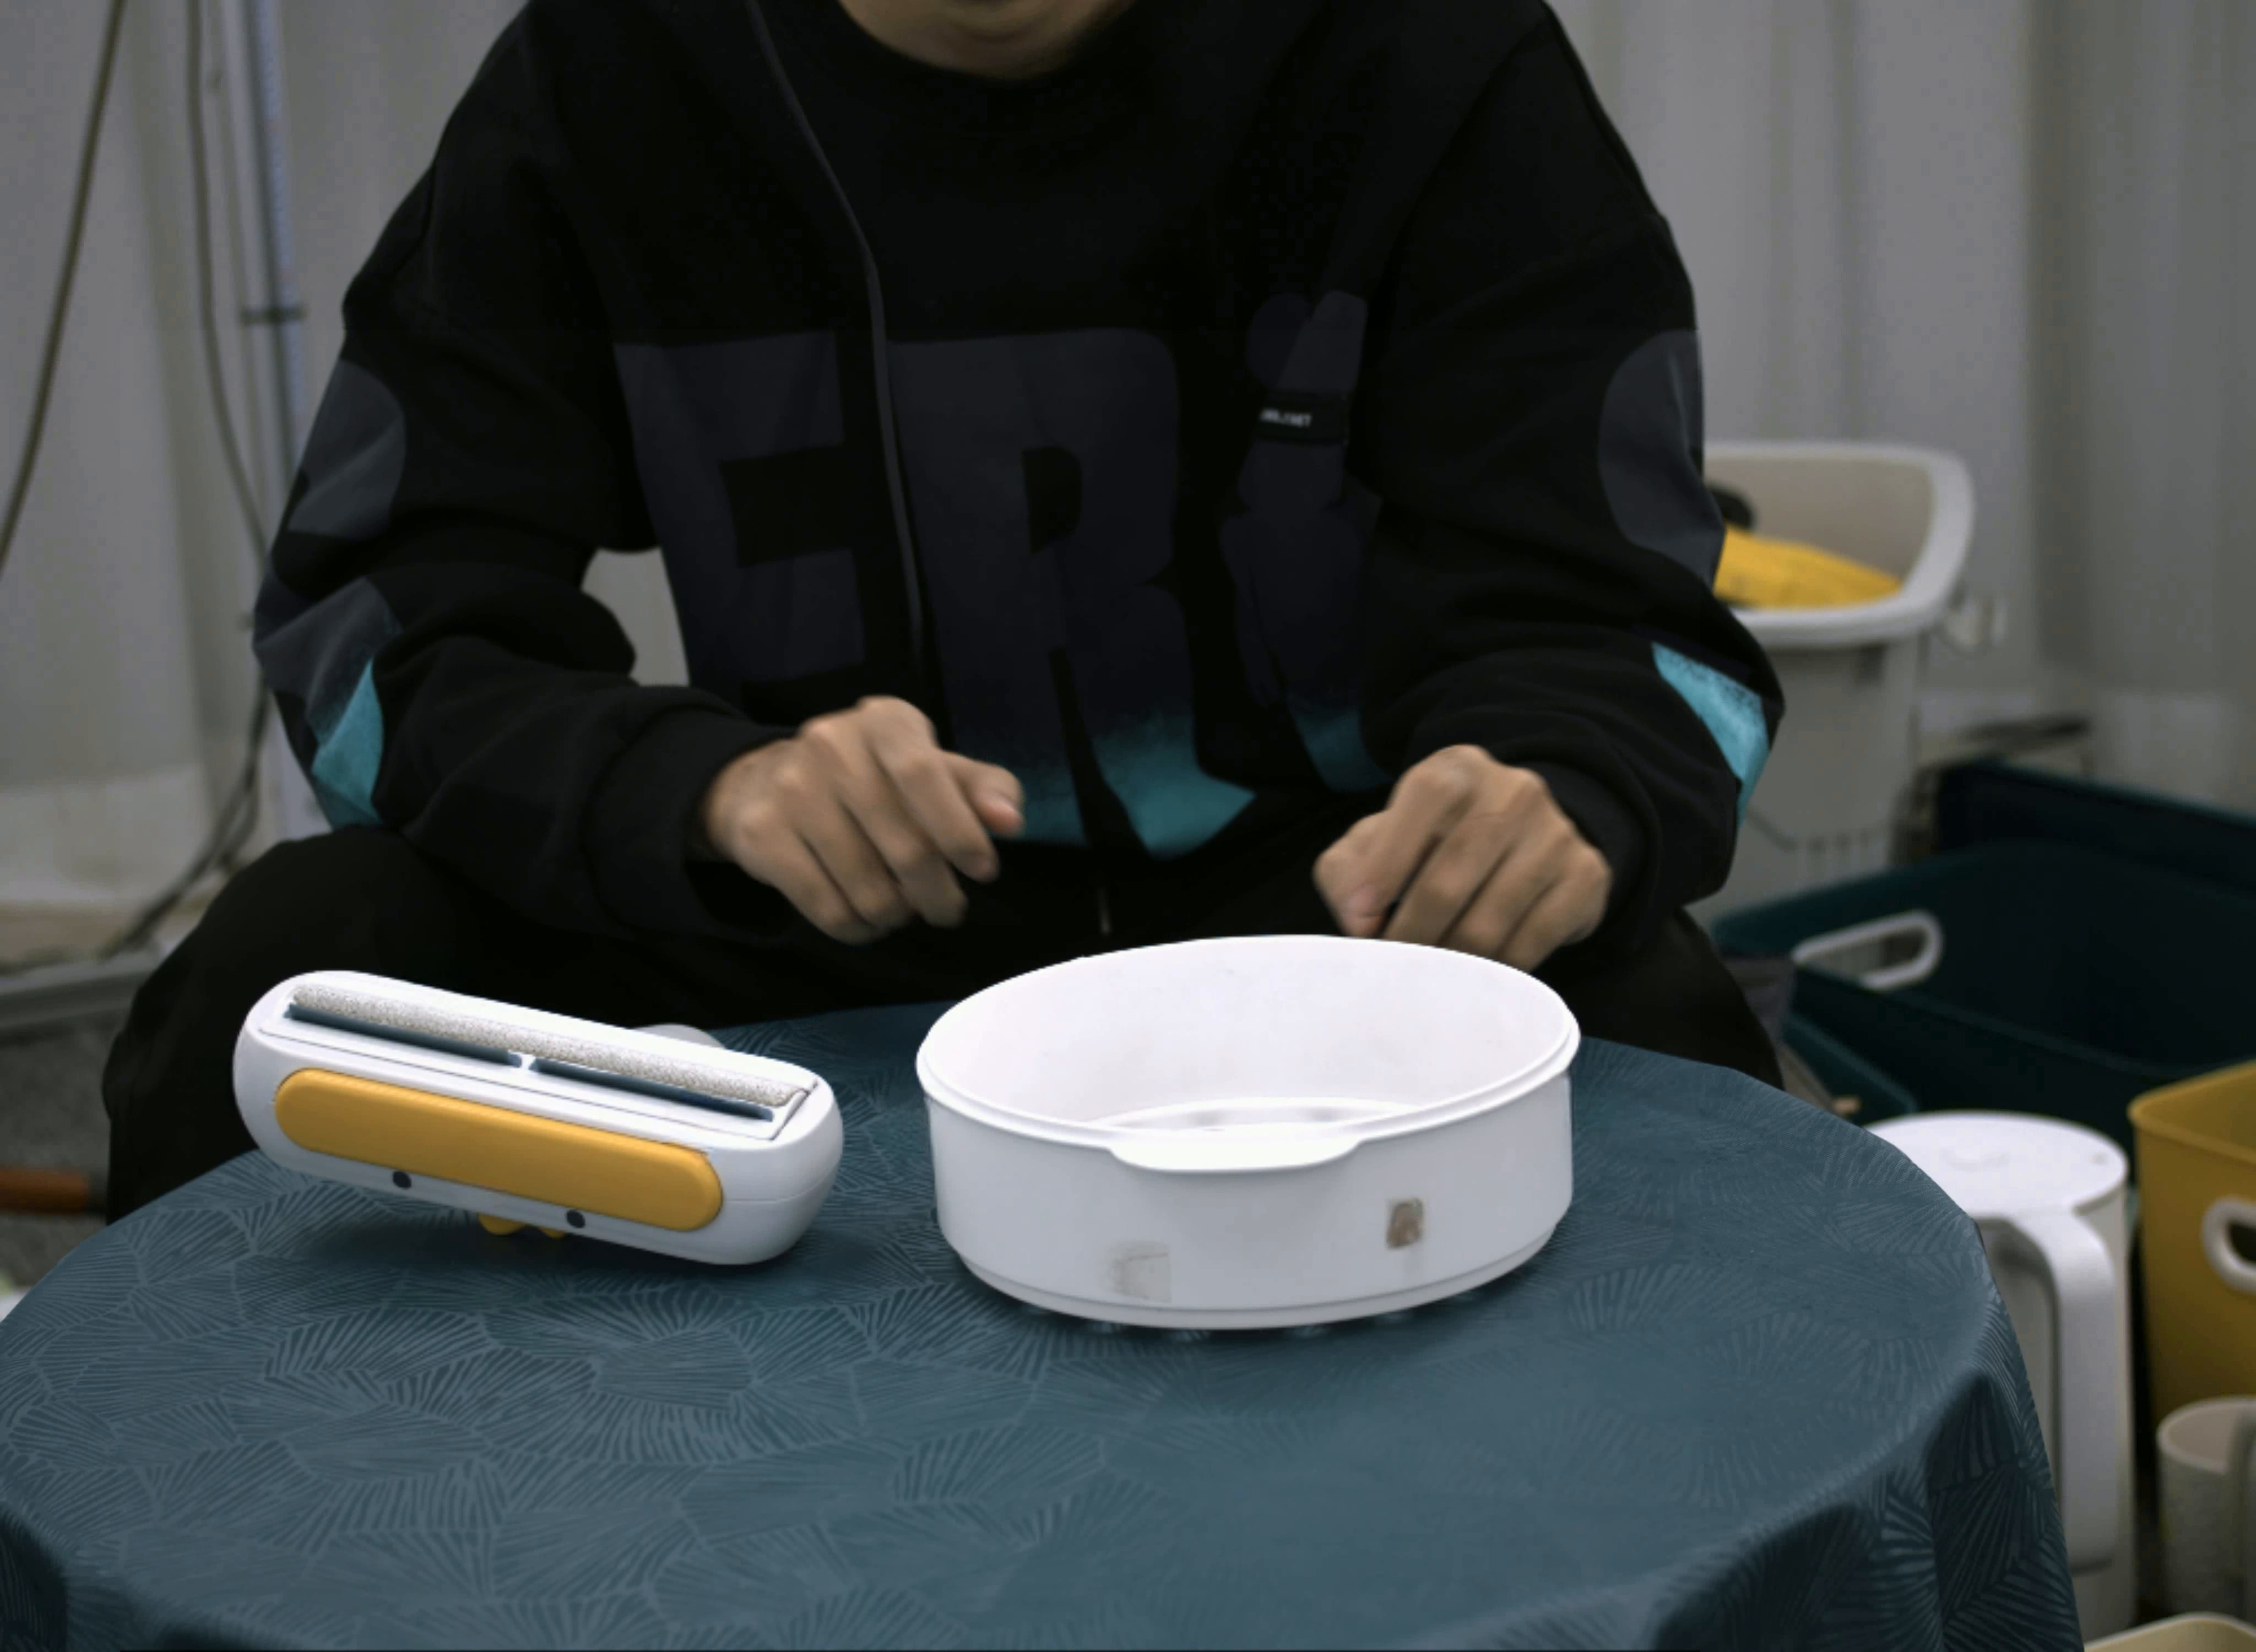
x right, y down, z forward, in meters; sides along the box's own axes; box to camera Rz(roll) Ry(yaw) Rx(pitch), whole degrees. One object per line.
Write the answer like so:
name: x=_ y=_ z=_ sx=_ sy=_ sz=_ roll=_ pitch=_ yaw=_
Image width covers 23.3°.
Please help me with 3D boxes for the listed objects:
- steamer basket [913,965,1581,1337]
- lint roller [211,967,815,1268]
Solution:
steamer basket: x=0.036 y=0.098 z=1.652 sx=0.201 sy=0.069 sz=0.232 roll=0 pitch=13 yaw=4
lint roller: x=-0.171 y=0.082 z=1.743 sx=0.193 sy=0.074 sz=0.193 roll=8 pitch=16 yaw=18
